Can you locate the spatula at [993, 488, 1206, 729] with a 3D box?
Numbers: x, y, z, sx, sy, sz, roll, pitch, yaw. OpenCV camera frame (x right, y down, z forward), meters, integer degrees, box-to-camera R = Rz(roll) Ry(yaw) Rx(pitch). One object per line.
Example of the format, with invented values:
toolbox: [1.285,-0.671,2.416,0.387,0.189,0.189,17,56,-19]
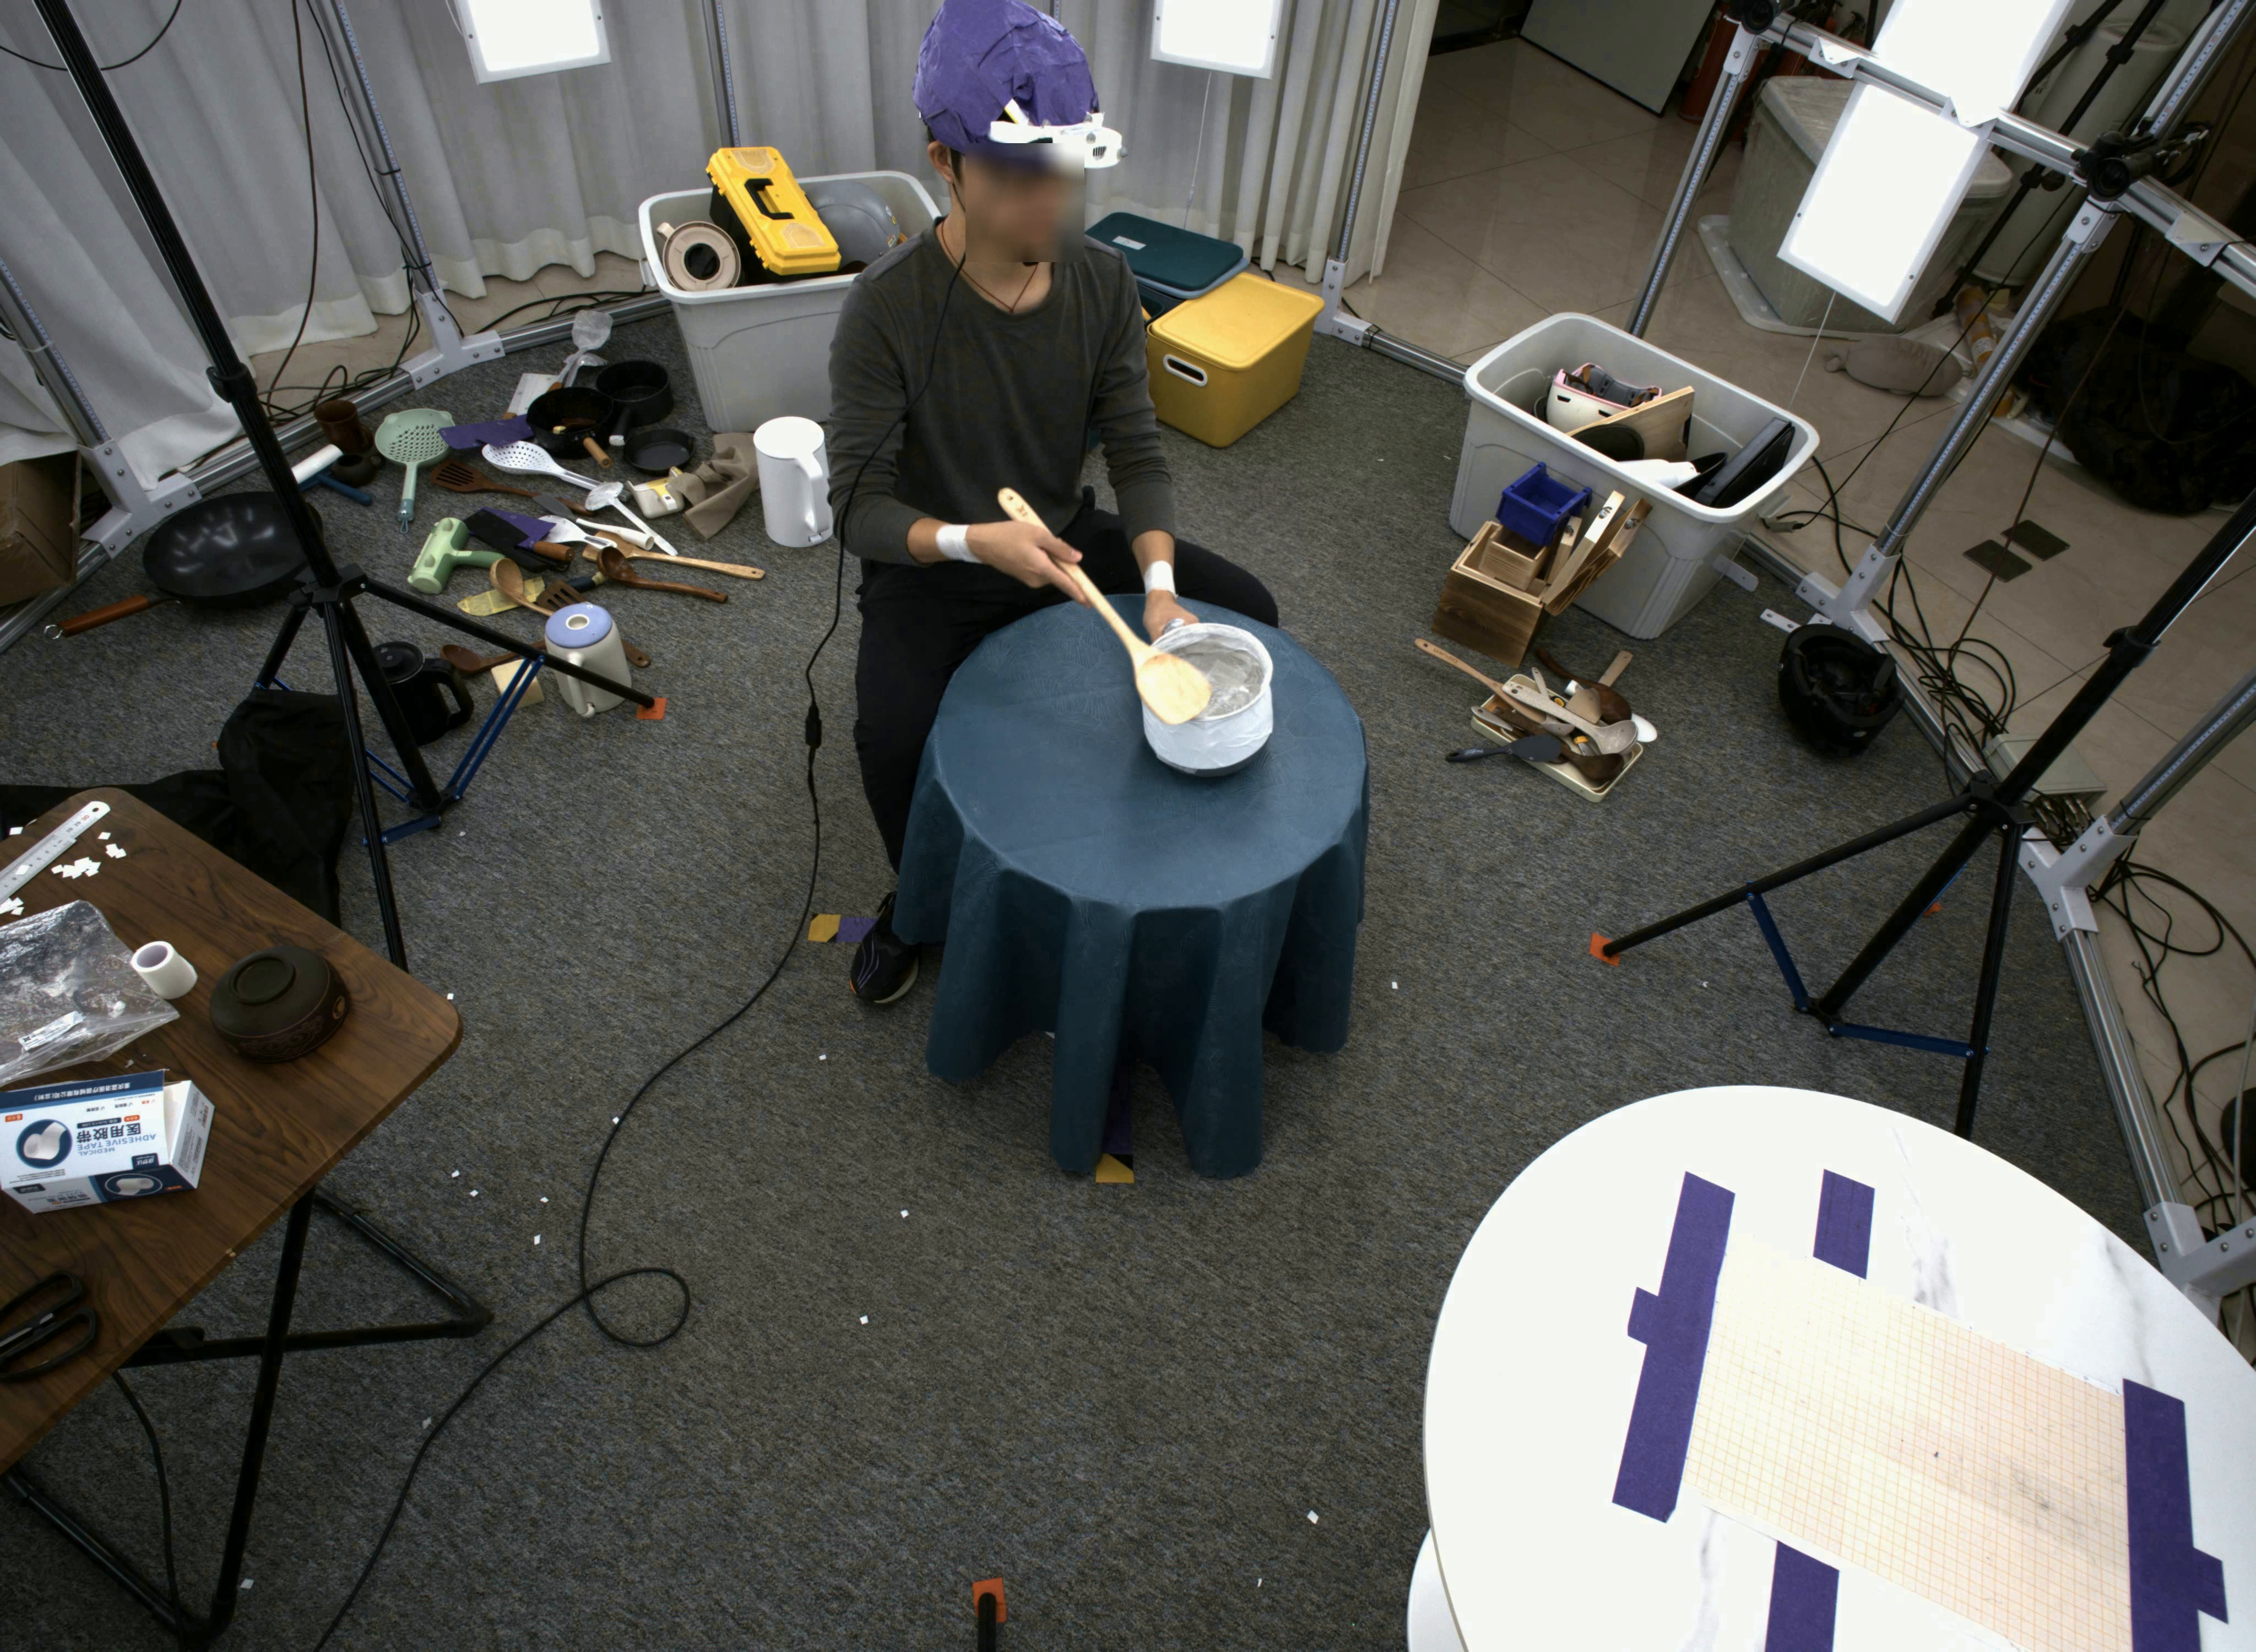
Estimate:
spatula: [-0.048,-0.280,1.626,0.096,0.018,0.393,-34,81,-34]

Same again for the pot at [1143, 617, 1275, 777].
pot: [0.097,-0.185,1.735,0.179,0.133,0.239,-19,52,-9]
